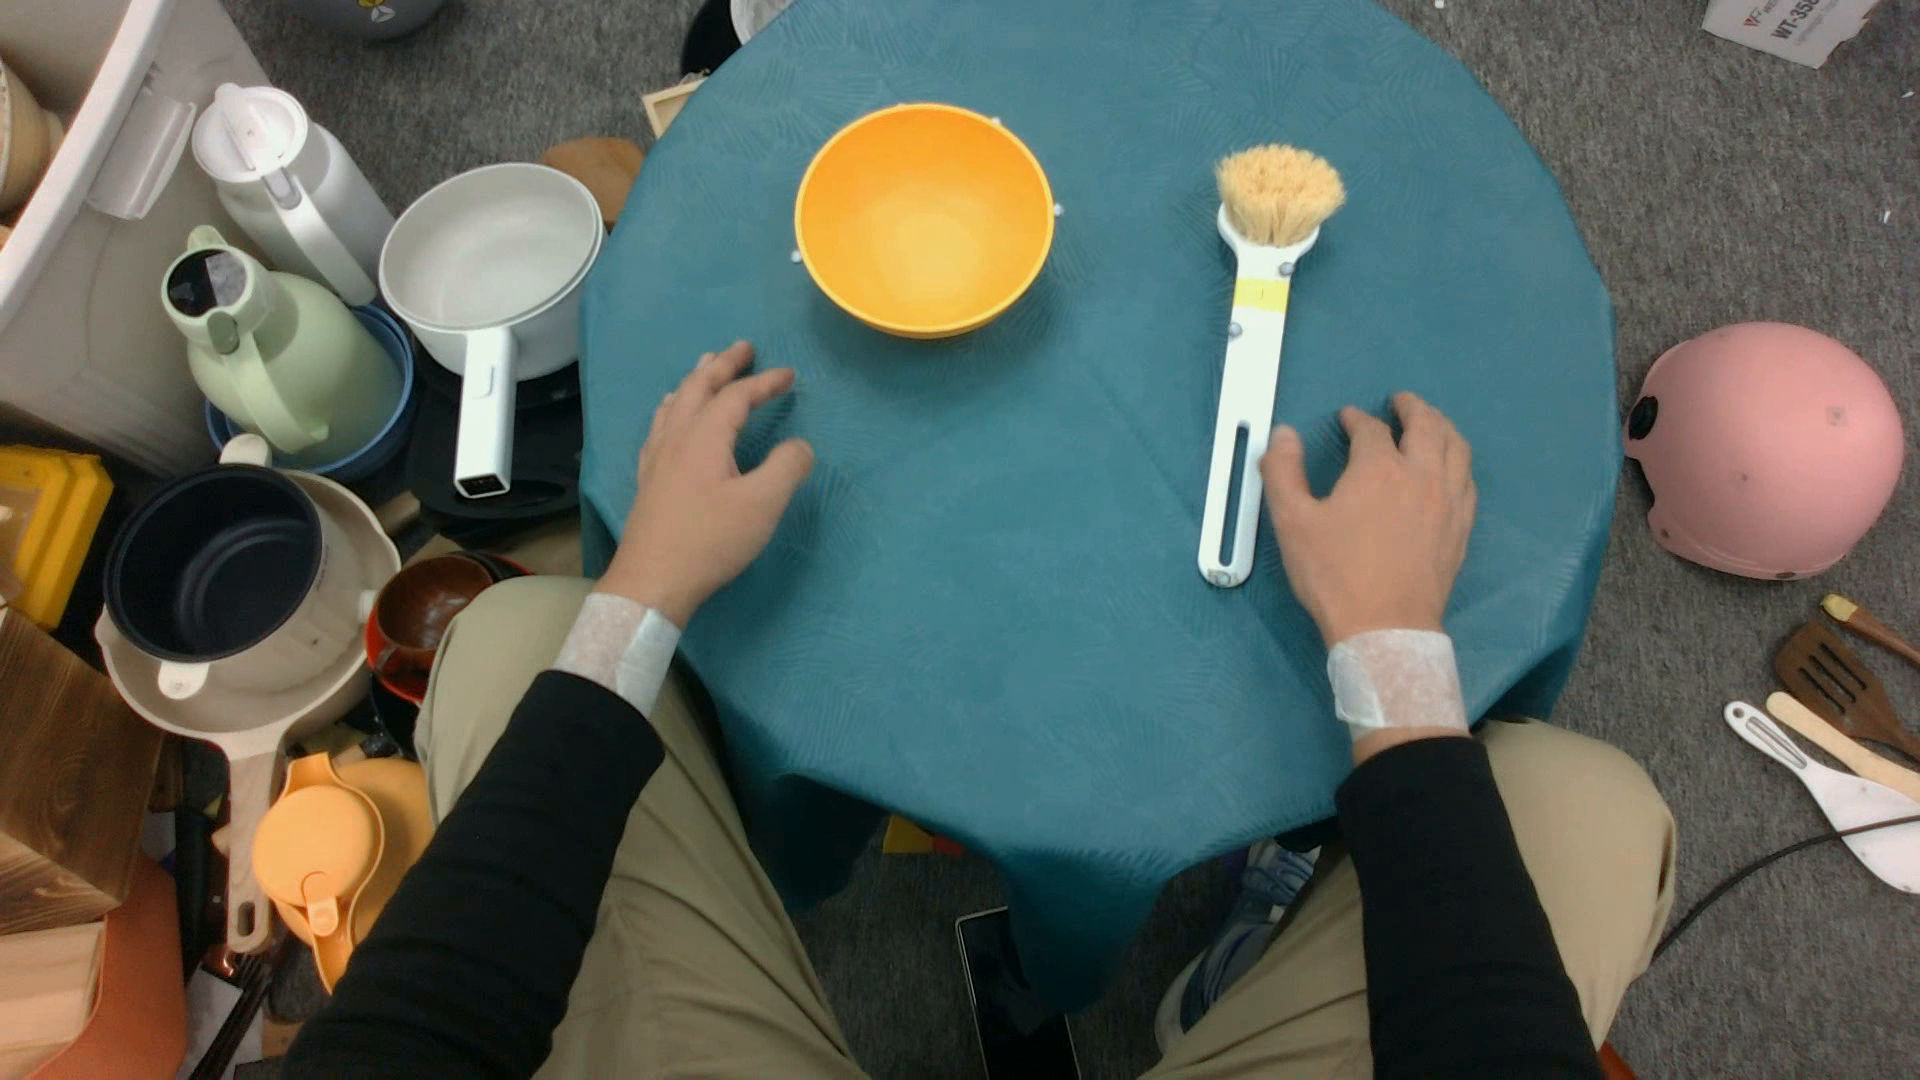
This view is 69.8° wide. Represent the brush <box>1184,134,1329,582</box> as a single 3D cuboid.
[{"bbox_3d":[0.160,-0.109,0.775,0.068,0.056,0.267,9,73,8],"label":"brush"}]

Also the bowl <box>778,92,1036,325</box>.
[{"bbox_3d":[-0.029,-0.180,0.793,0.145,0.060,0.145,0,73,1],"label":"bowl"}]
